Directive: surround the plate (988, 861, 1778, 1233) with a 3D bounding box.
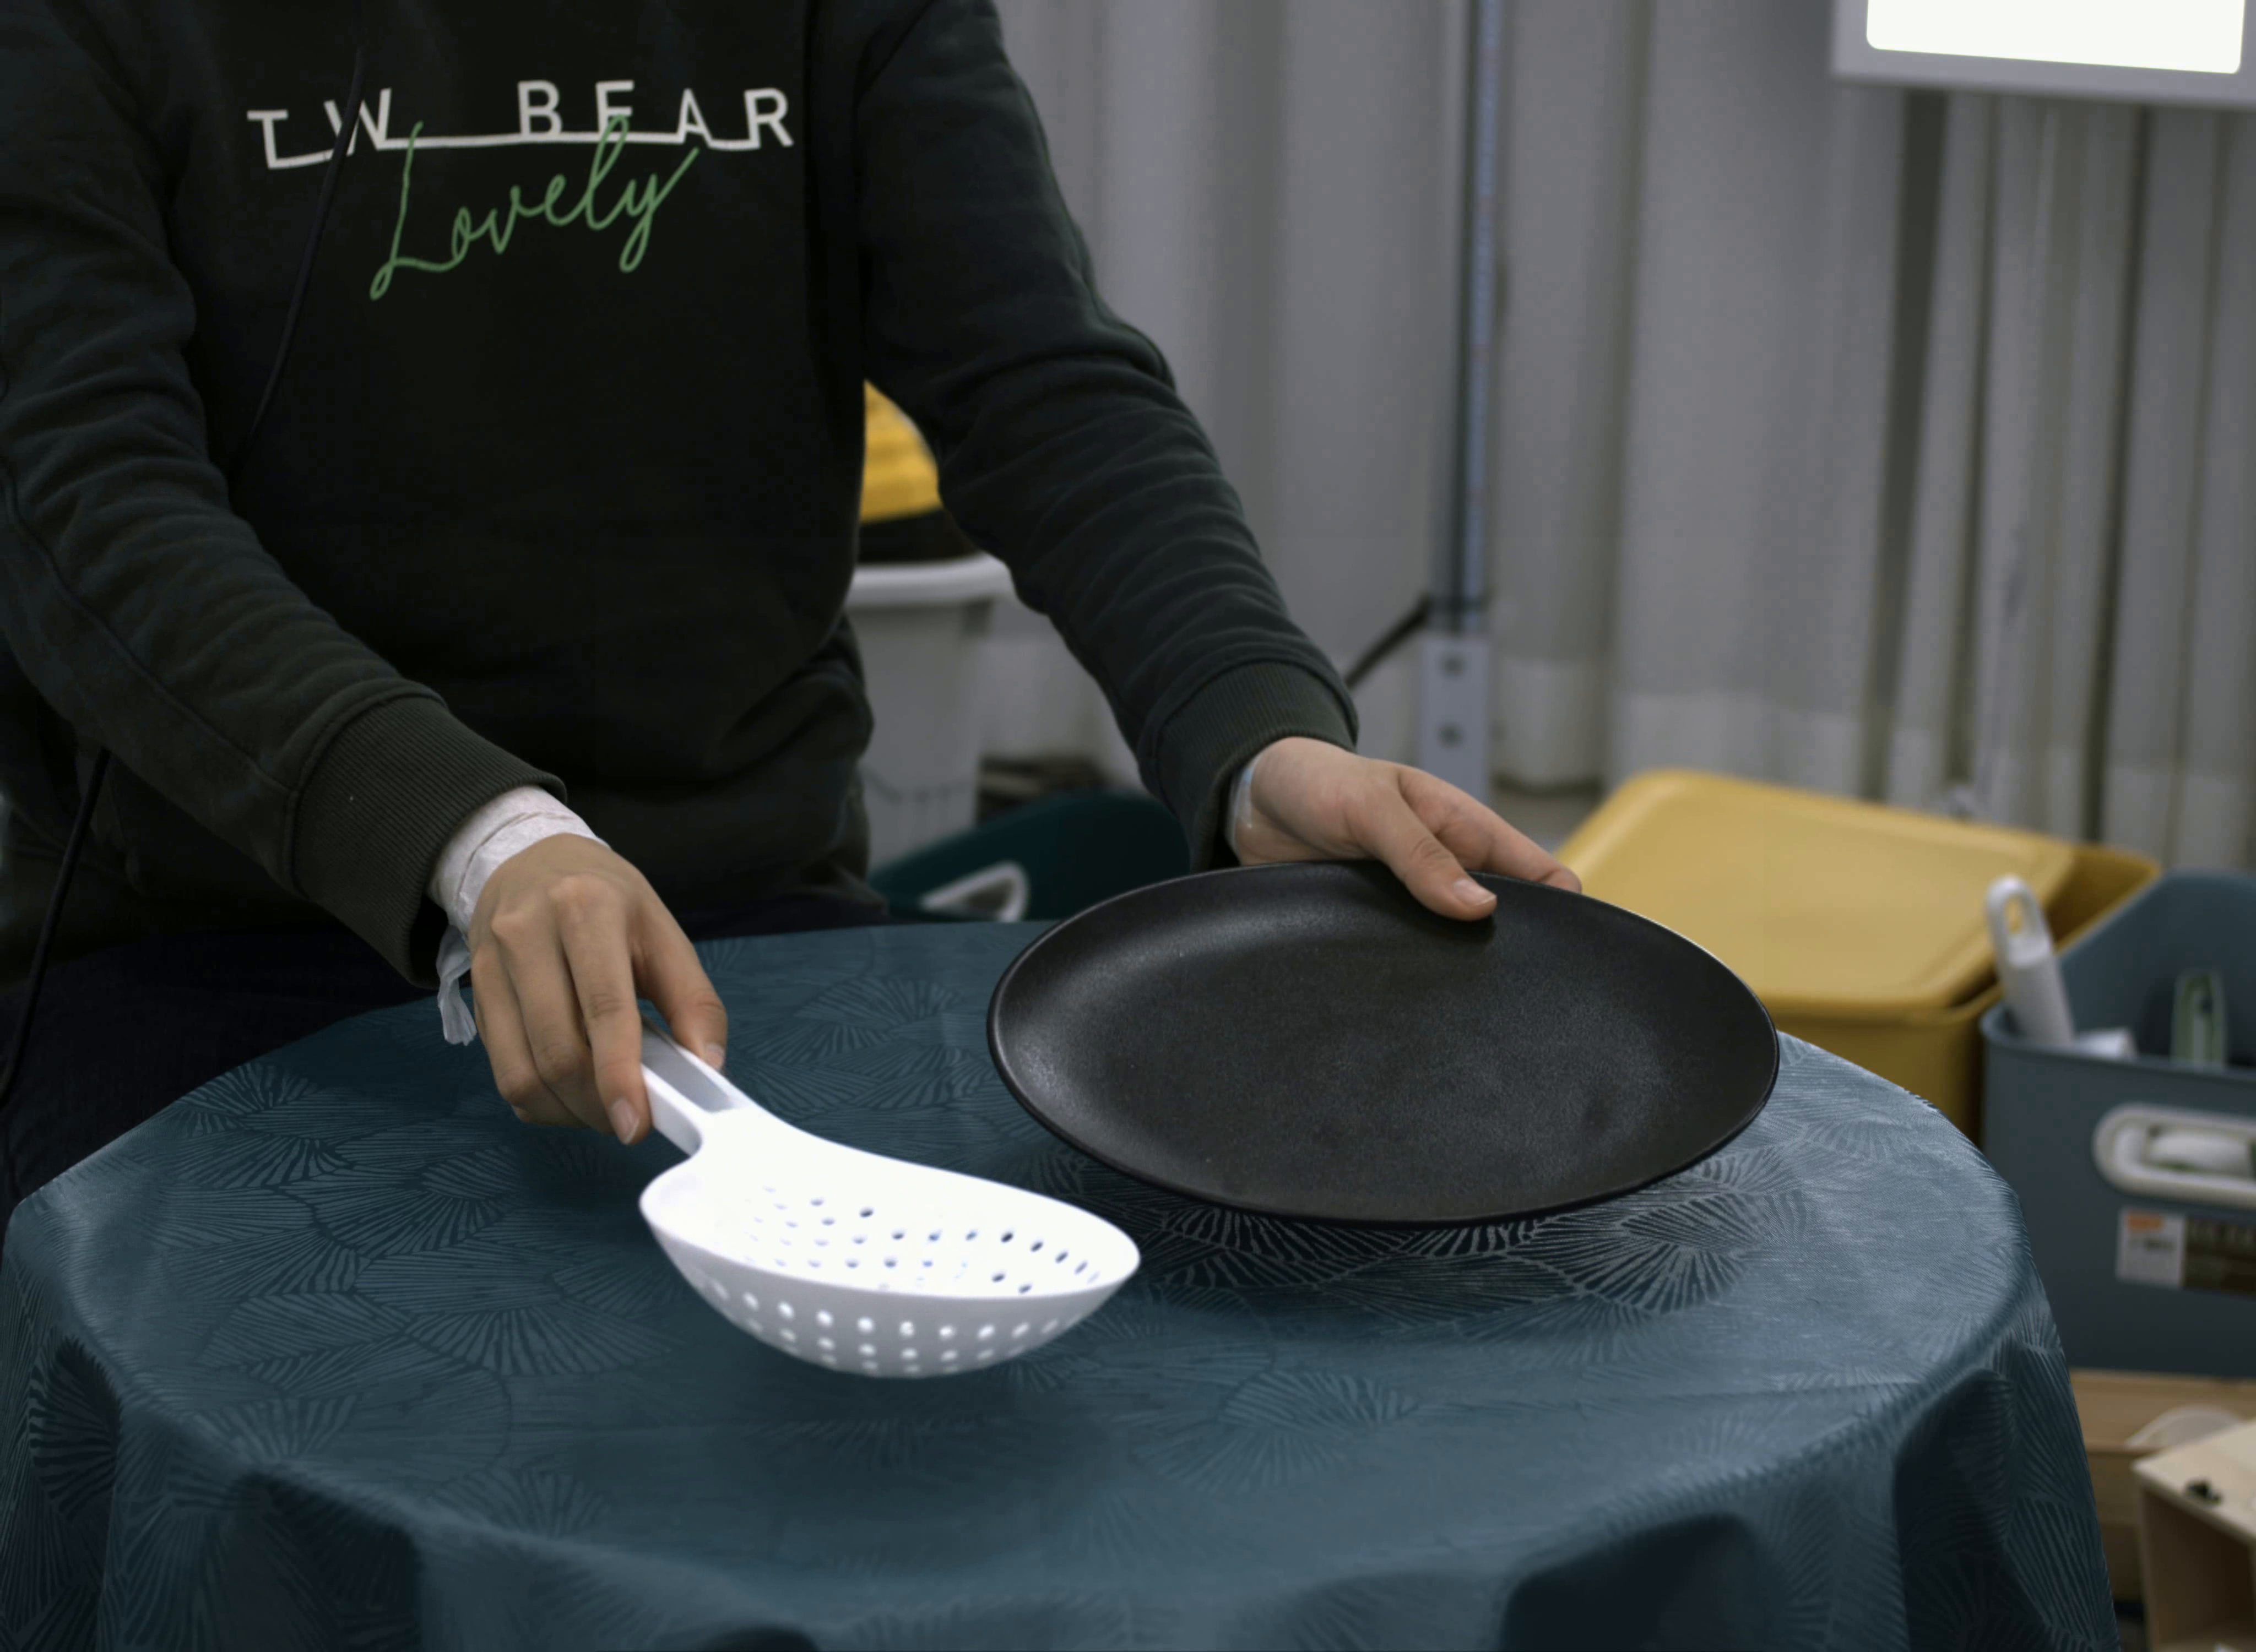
[{"bbox_3d":[0.078,0.071,1.620,0.243,0.023,0.242,2,25,0],"label":"plate"}]

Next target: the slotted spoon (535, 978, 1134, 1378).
[{"bbox_3d":[-0.109,0.092,1.519,0.137,0.046,0.345,4,15,-25],"label":"slotted spoon"}]
